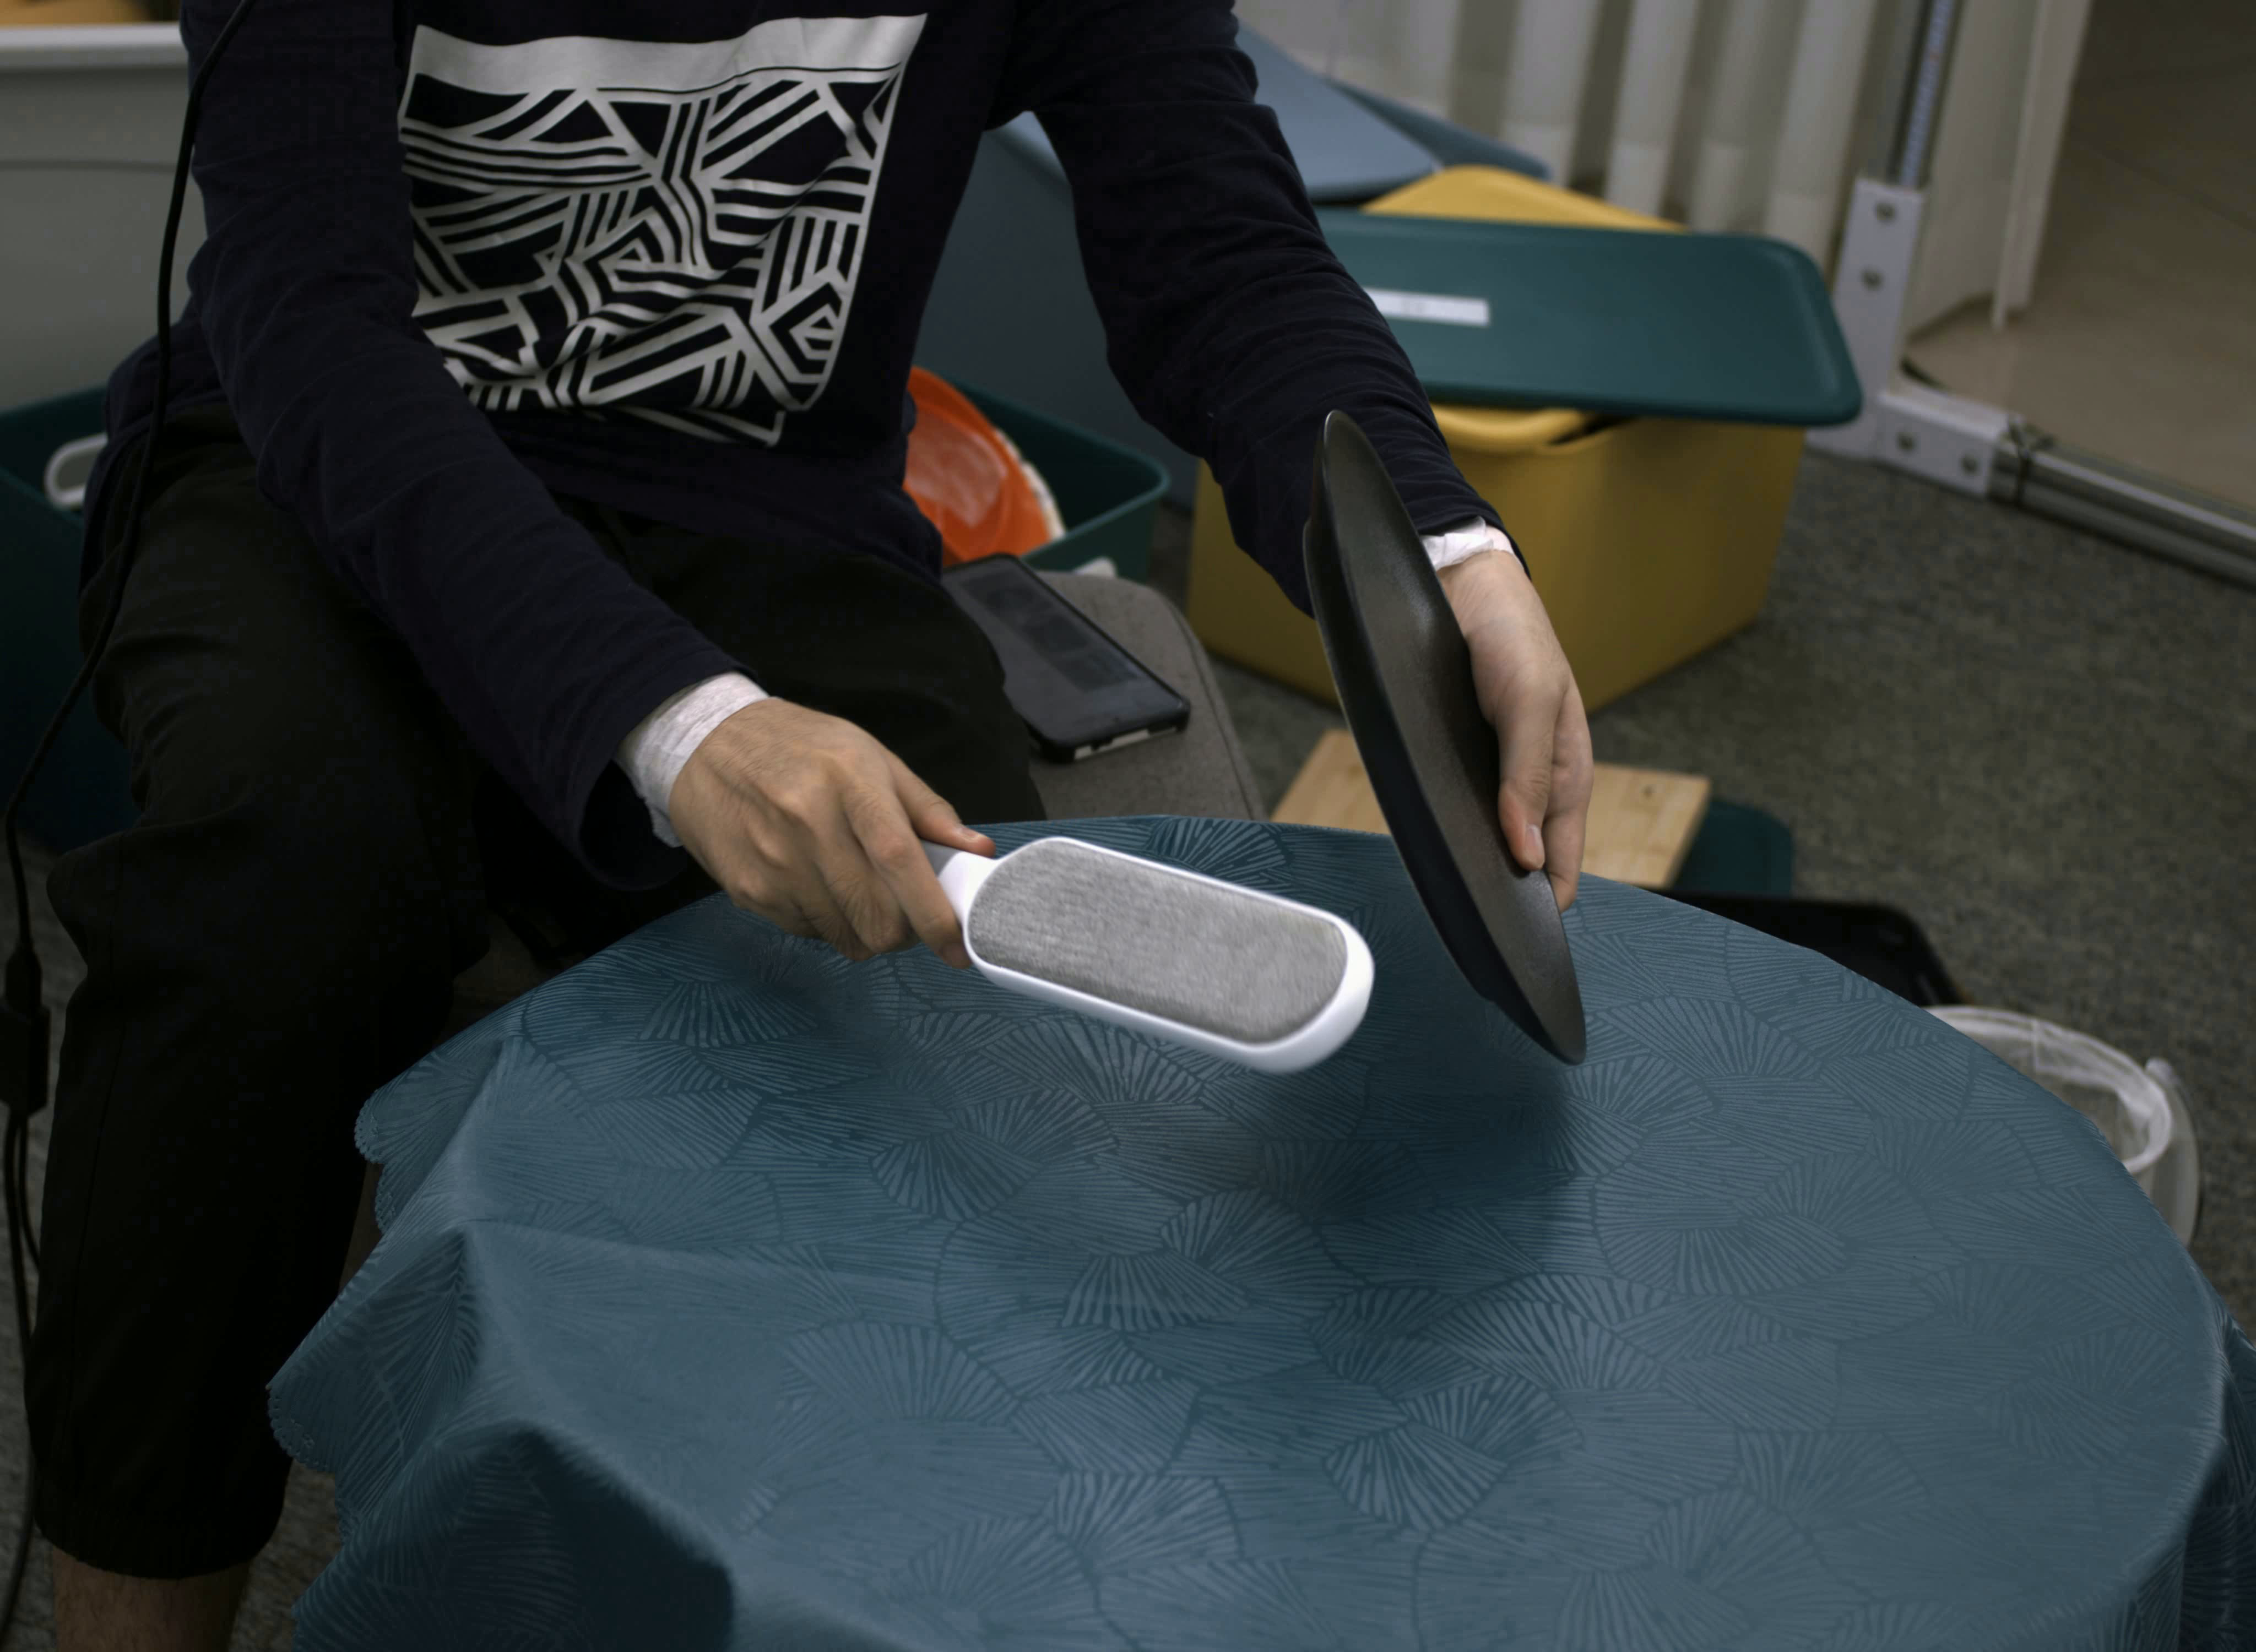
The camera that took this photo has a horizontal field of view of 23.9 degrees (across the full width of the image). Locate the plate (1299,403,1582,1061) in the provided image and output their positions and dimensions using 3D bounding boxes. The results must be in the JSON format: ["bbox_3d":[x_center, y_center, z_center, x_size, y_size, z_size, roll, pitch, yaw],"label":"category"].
[{"bbox_3d":[0.104,-0.030,1.850,0.023,0.243,0.246,-21,24,11],"label":"plate"}]

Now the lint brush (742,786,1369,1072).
[{"bbox_3d":[-0.031,0.026,1.808,0.311,0.060,0.021,17,-18,46],"label":"lint brush"}]
